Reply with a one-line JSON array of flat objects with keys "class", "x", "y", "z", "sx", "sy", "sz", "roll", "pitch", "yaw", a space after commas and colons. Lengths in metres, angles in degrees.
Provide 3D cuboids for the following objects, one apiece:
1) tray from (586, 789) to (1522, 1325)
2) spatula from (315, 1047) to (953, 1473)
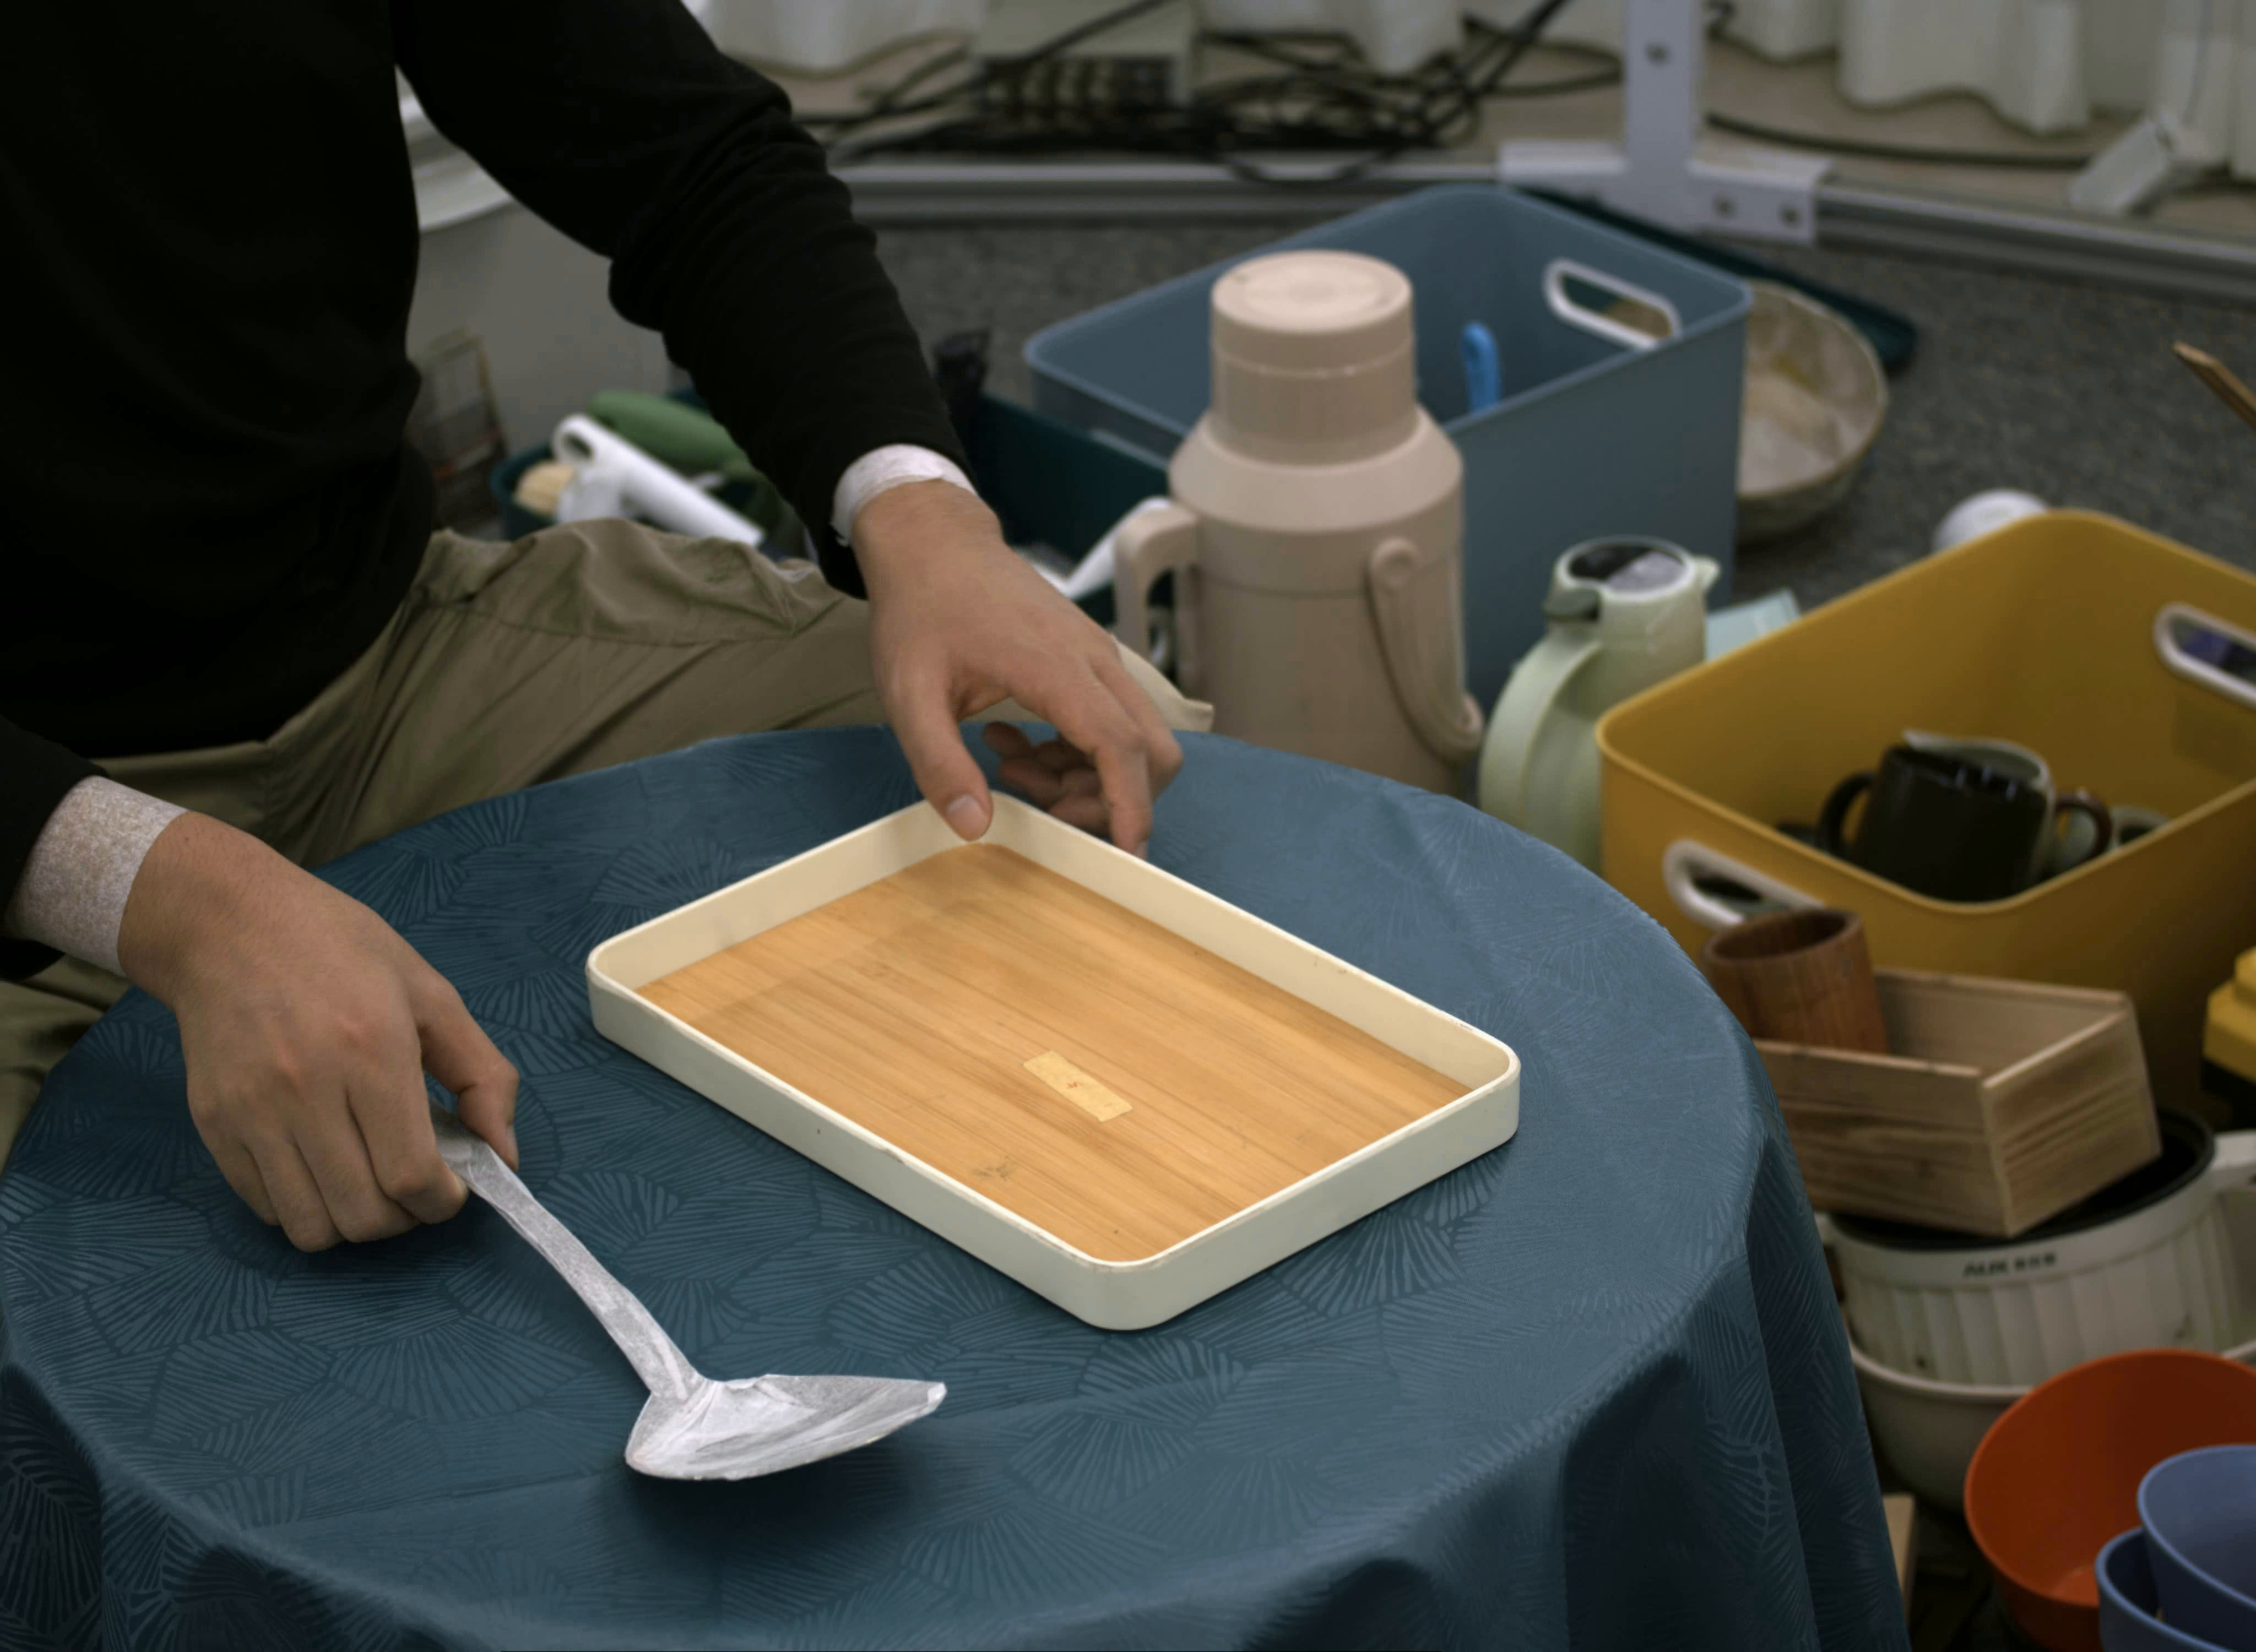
[{"class": "tray", "x": -0.029, "y": 0.074, "z": 1.927, "sx": 0.193, "sy": 0.027, "sz": 0.300, "roll": -24, "pitch": 34, "yaw": -34}, {"class": "spatula", "x": -0.183, "y": 0.132, "z": 1.813, "sx": 0.099, "sy": 0.044, "sz": 0.366, "roll": -16, "pitch": 31, "yaw": -30}]
